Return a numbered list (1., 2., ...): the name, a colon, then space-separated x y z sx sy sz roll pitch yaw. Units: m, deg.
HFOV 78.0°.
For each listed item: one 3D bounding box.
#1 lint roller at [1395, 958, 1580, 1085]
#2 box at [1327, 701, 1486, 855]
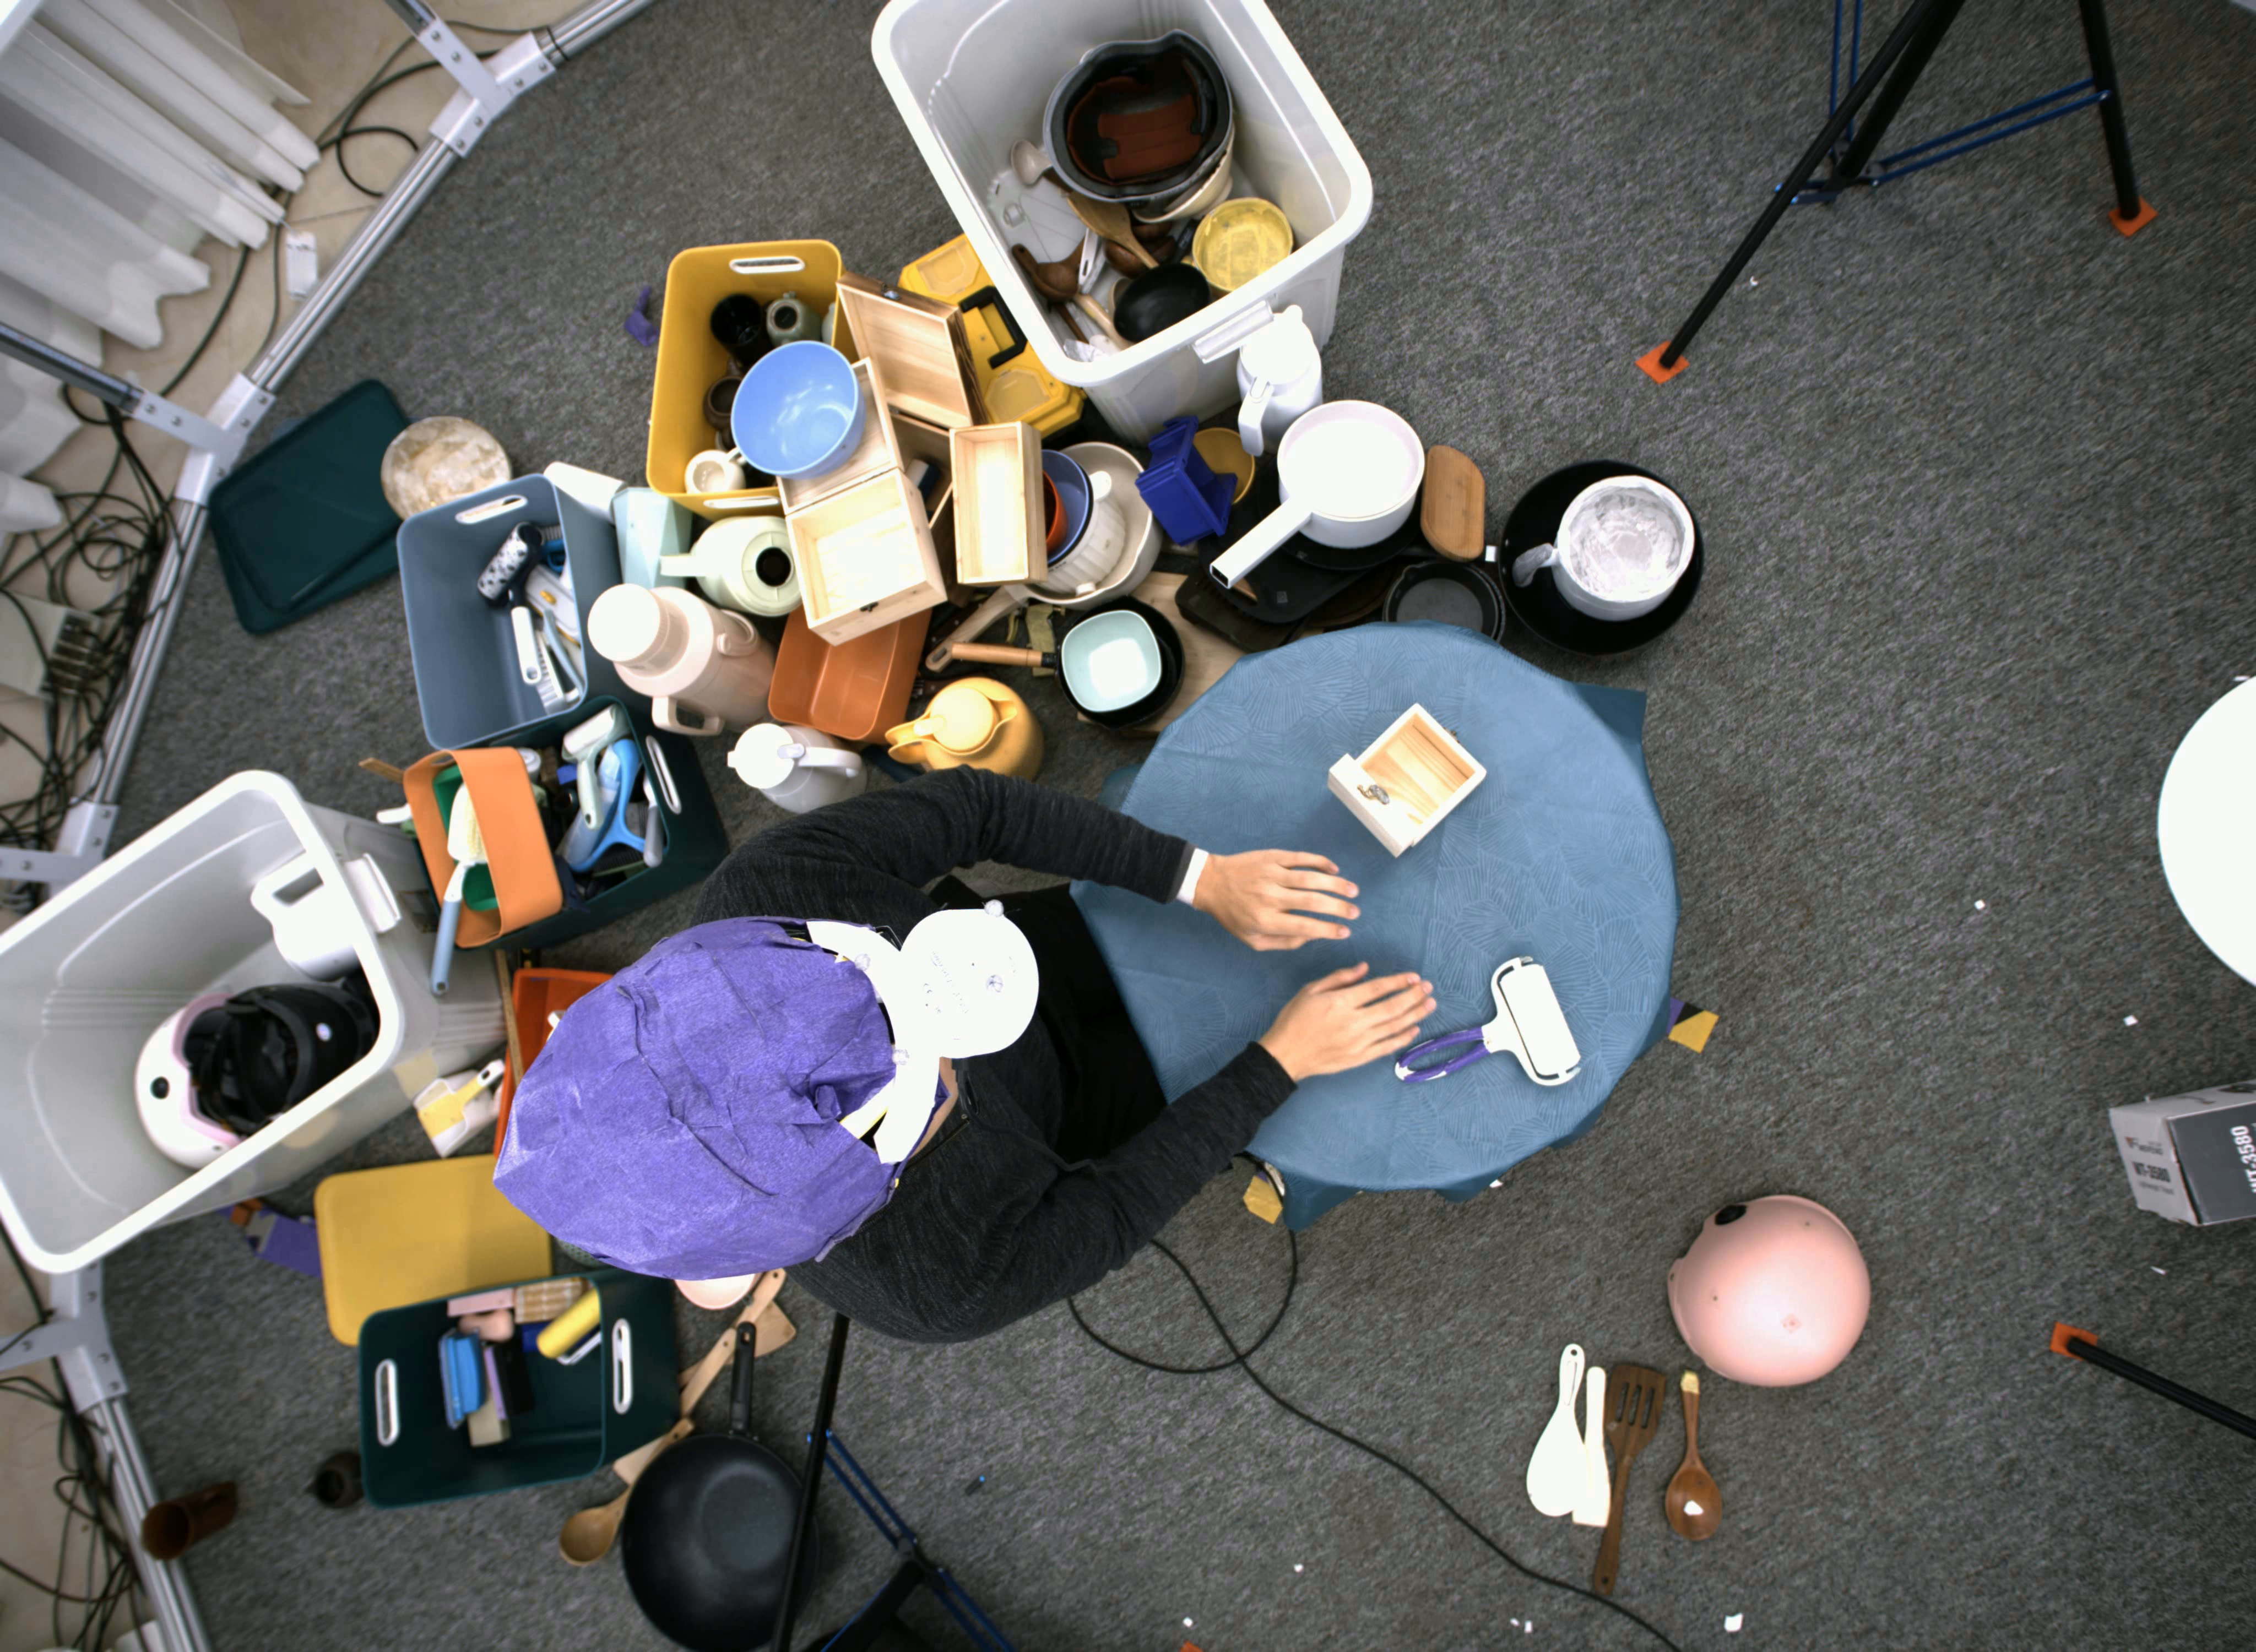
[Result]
1. lint roller: 0.359 0.218 1.412 0.181 0.050 0.132 -21 84 6
2. box: 0.280 -0.053 1.372 0.134 0.184 0.102 -44 79 4
